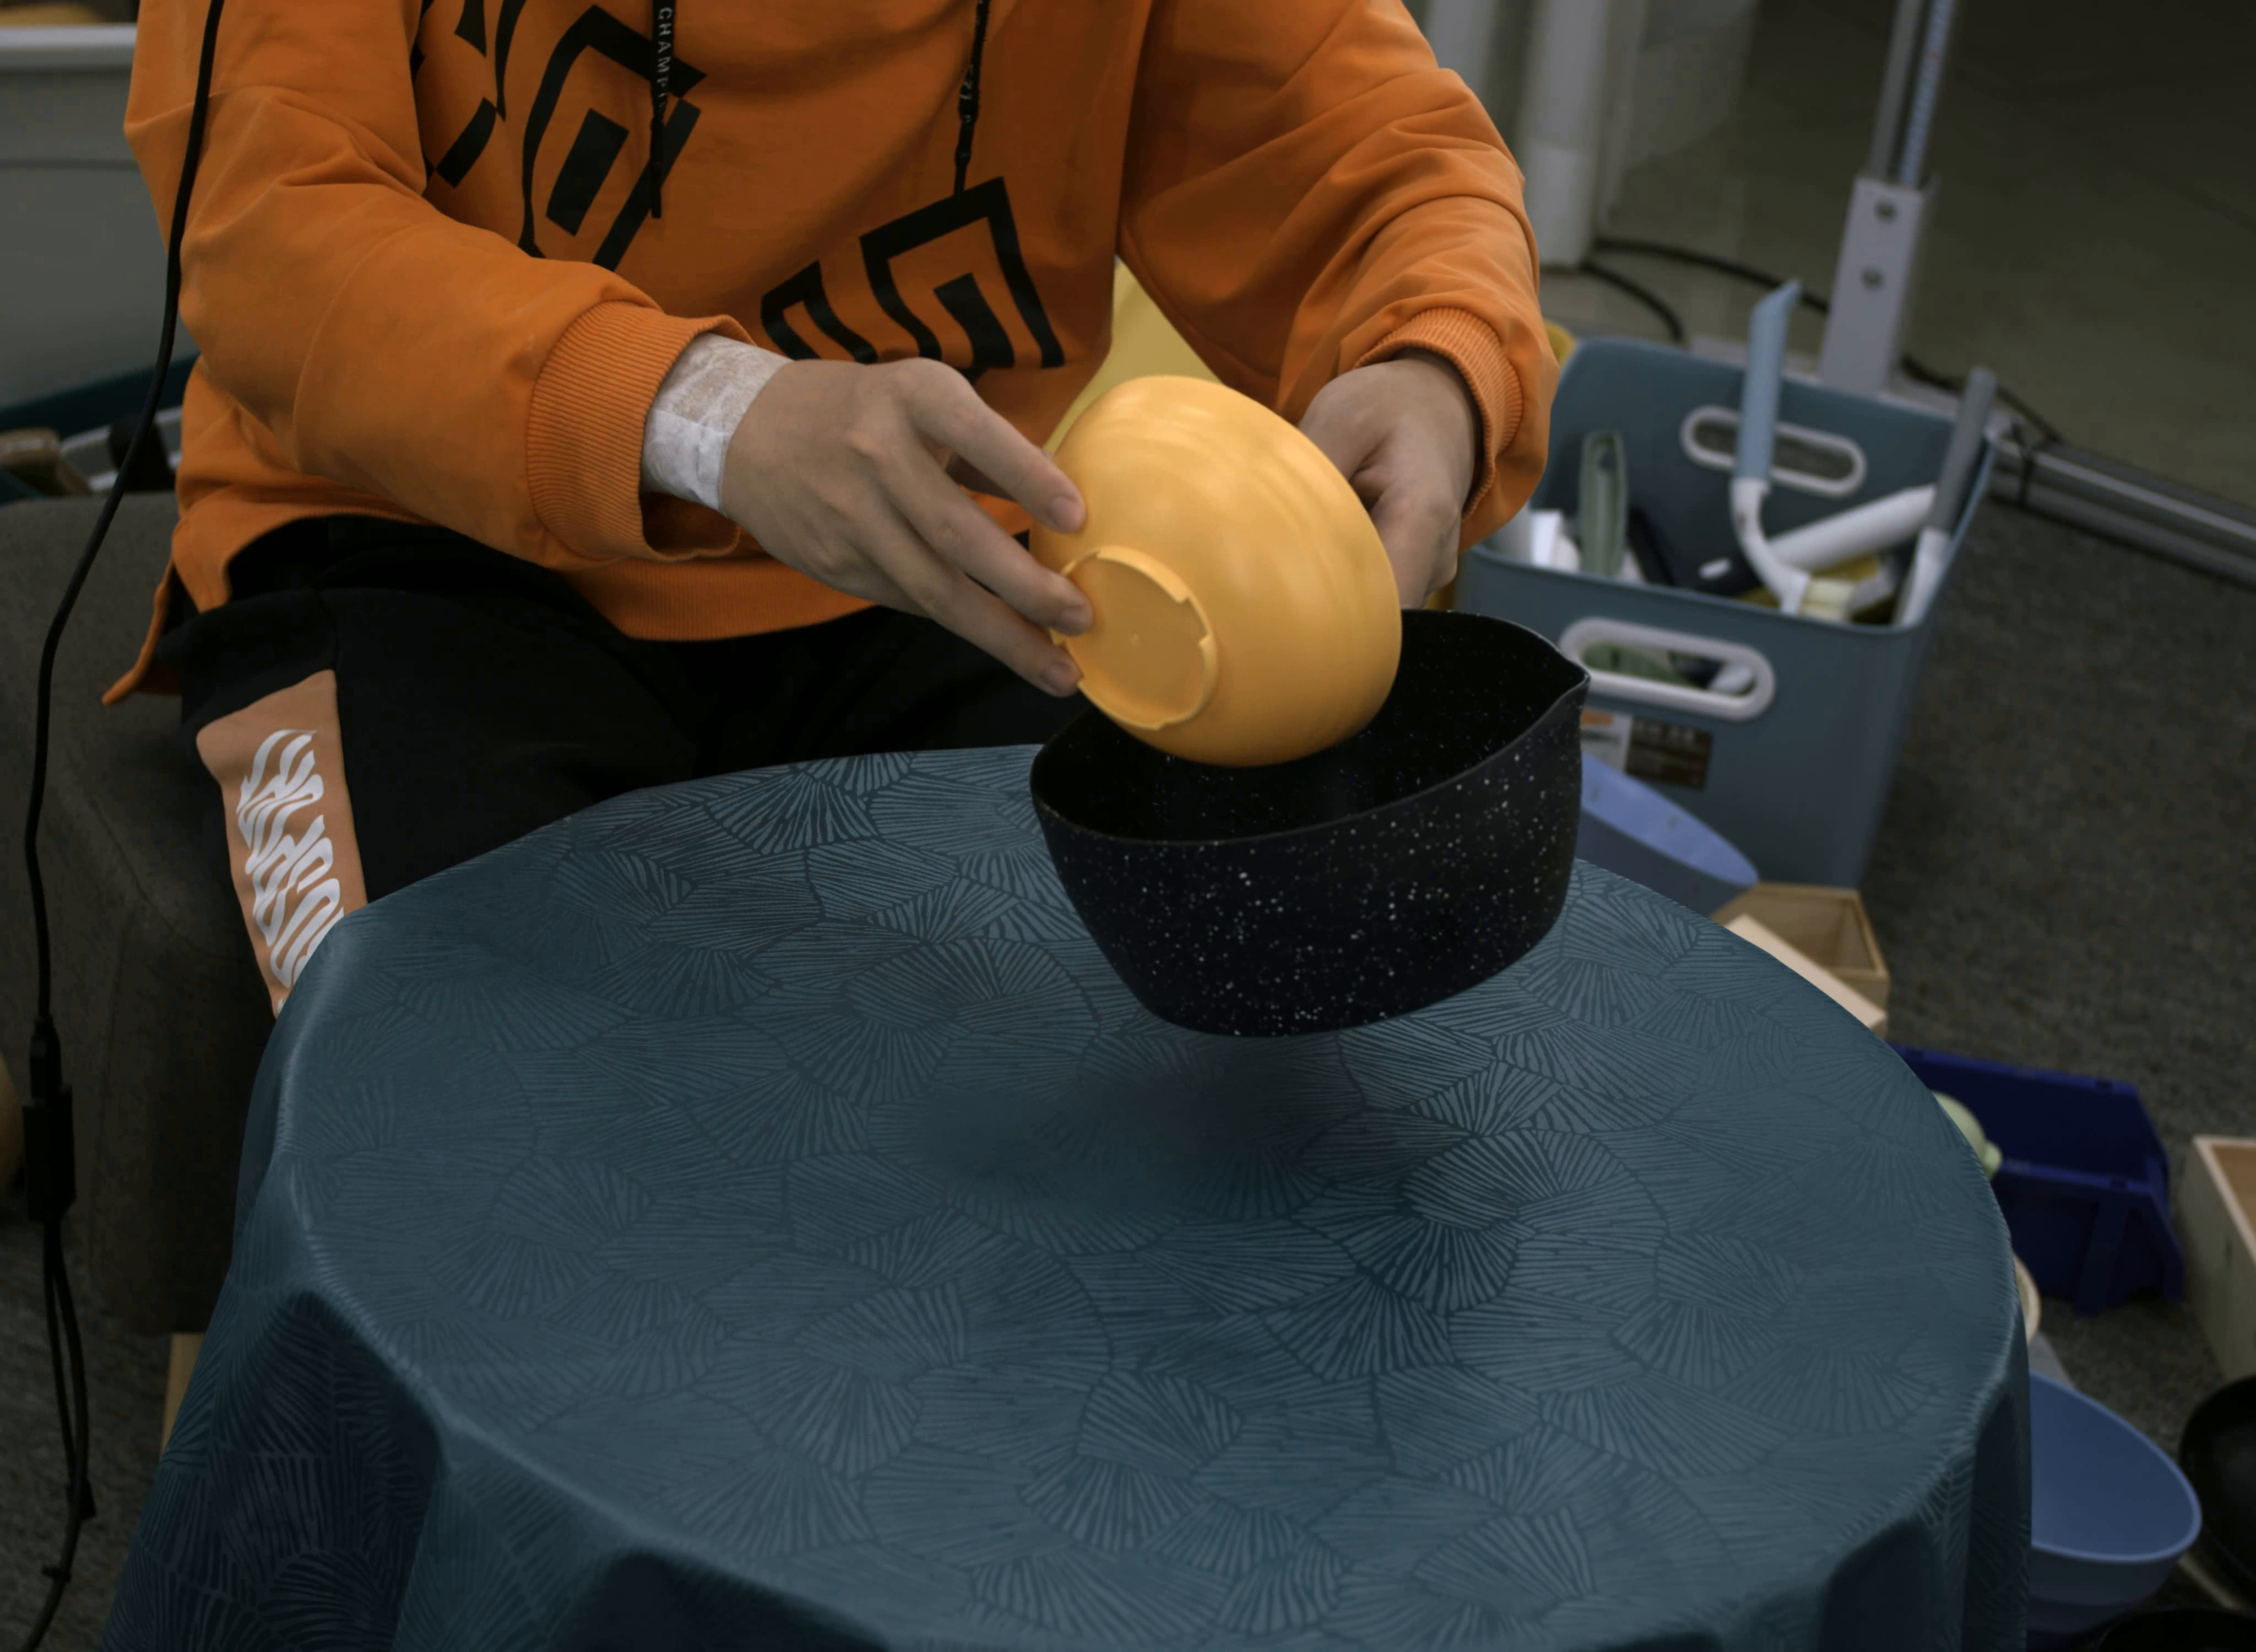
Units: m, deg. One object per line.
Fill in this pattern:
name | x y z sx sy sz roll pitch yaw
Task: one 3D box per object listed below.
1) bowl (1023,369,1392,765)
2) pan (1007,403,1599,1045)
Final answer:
bowl | 0.014 -0.076 1.795 0.146 0.144 0.060 23 41 29
pan | 0.069 -0.041 1.879 0.207 0.108 0.344 -11 24 9
